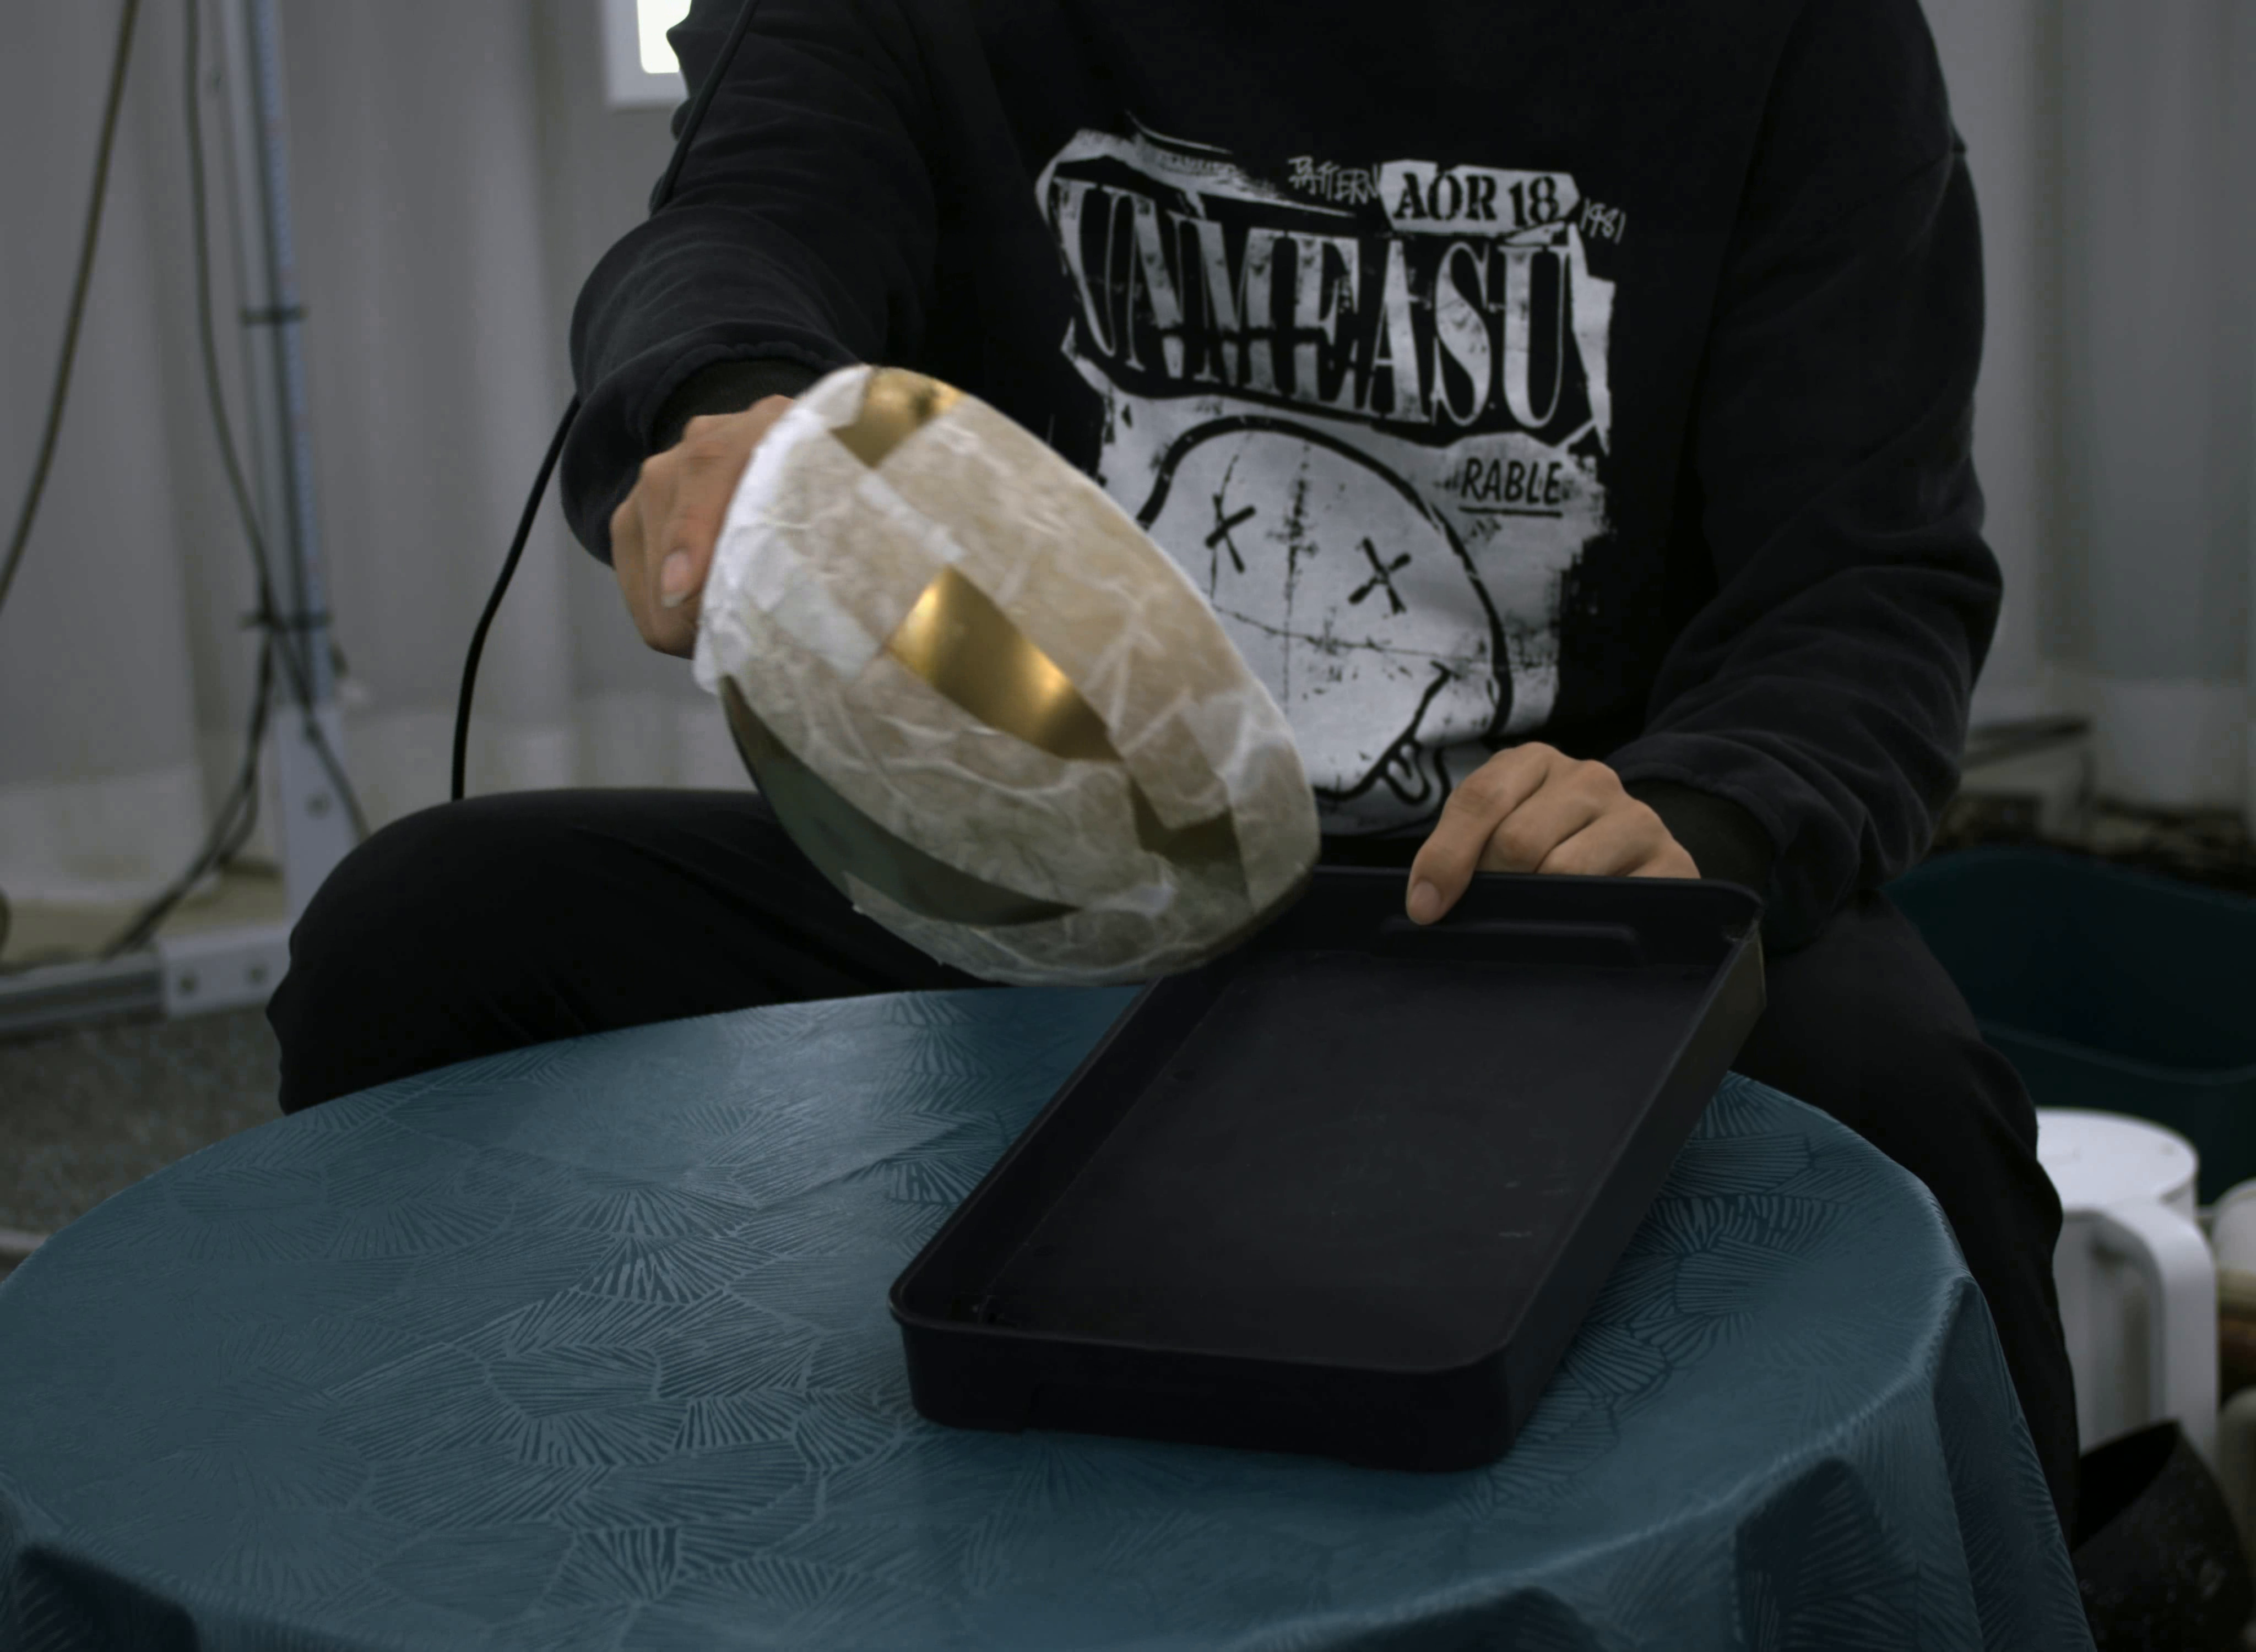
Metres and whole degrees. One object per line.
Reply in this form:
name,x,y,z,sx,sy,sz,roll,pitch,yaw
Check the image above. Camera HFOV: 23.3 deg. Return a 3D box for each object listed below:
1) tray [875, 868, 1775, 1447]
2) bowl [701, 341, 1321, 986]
tray,0.067,0.091,1.622,0.184,0.037,0.320,2,23,23
bowl,-0.051,-0.025,1.538,0.095,0.212,0.216,-44,32,-19
